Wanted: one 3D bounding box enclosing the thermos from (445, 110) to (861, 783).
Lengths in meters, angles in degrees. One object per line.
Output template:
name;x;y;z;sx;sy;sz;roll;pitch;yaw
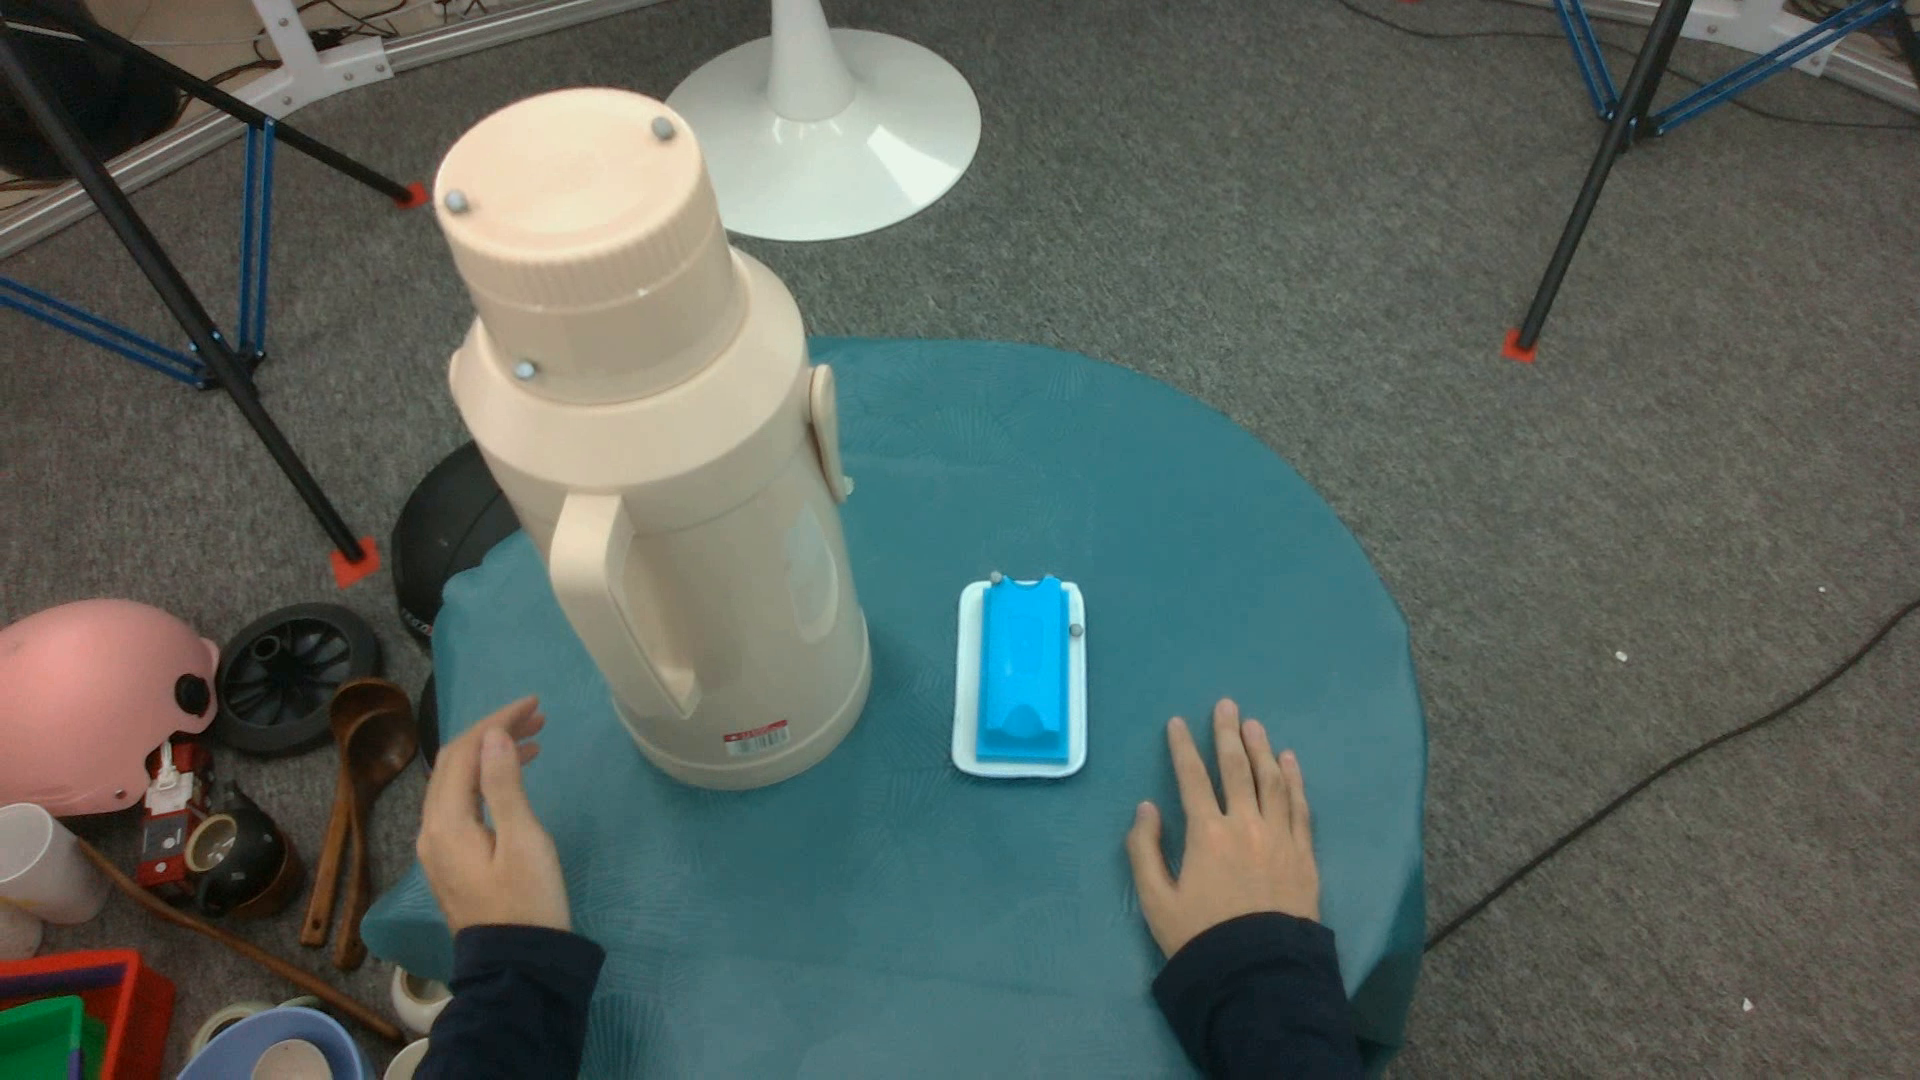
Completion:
thermos;-0.151;-0.015;0.712;0.175;0.404;0.208;3;55;3

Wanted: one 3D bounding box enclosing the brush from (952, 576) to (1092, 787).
brush;0.038;0.079;0.837;0.084;0.055;0.144;-1;50;7
